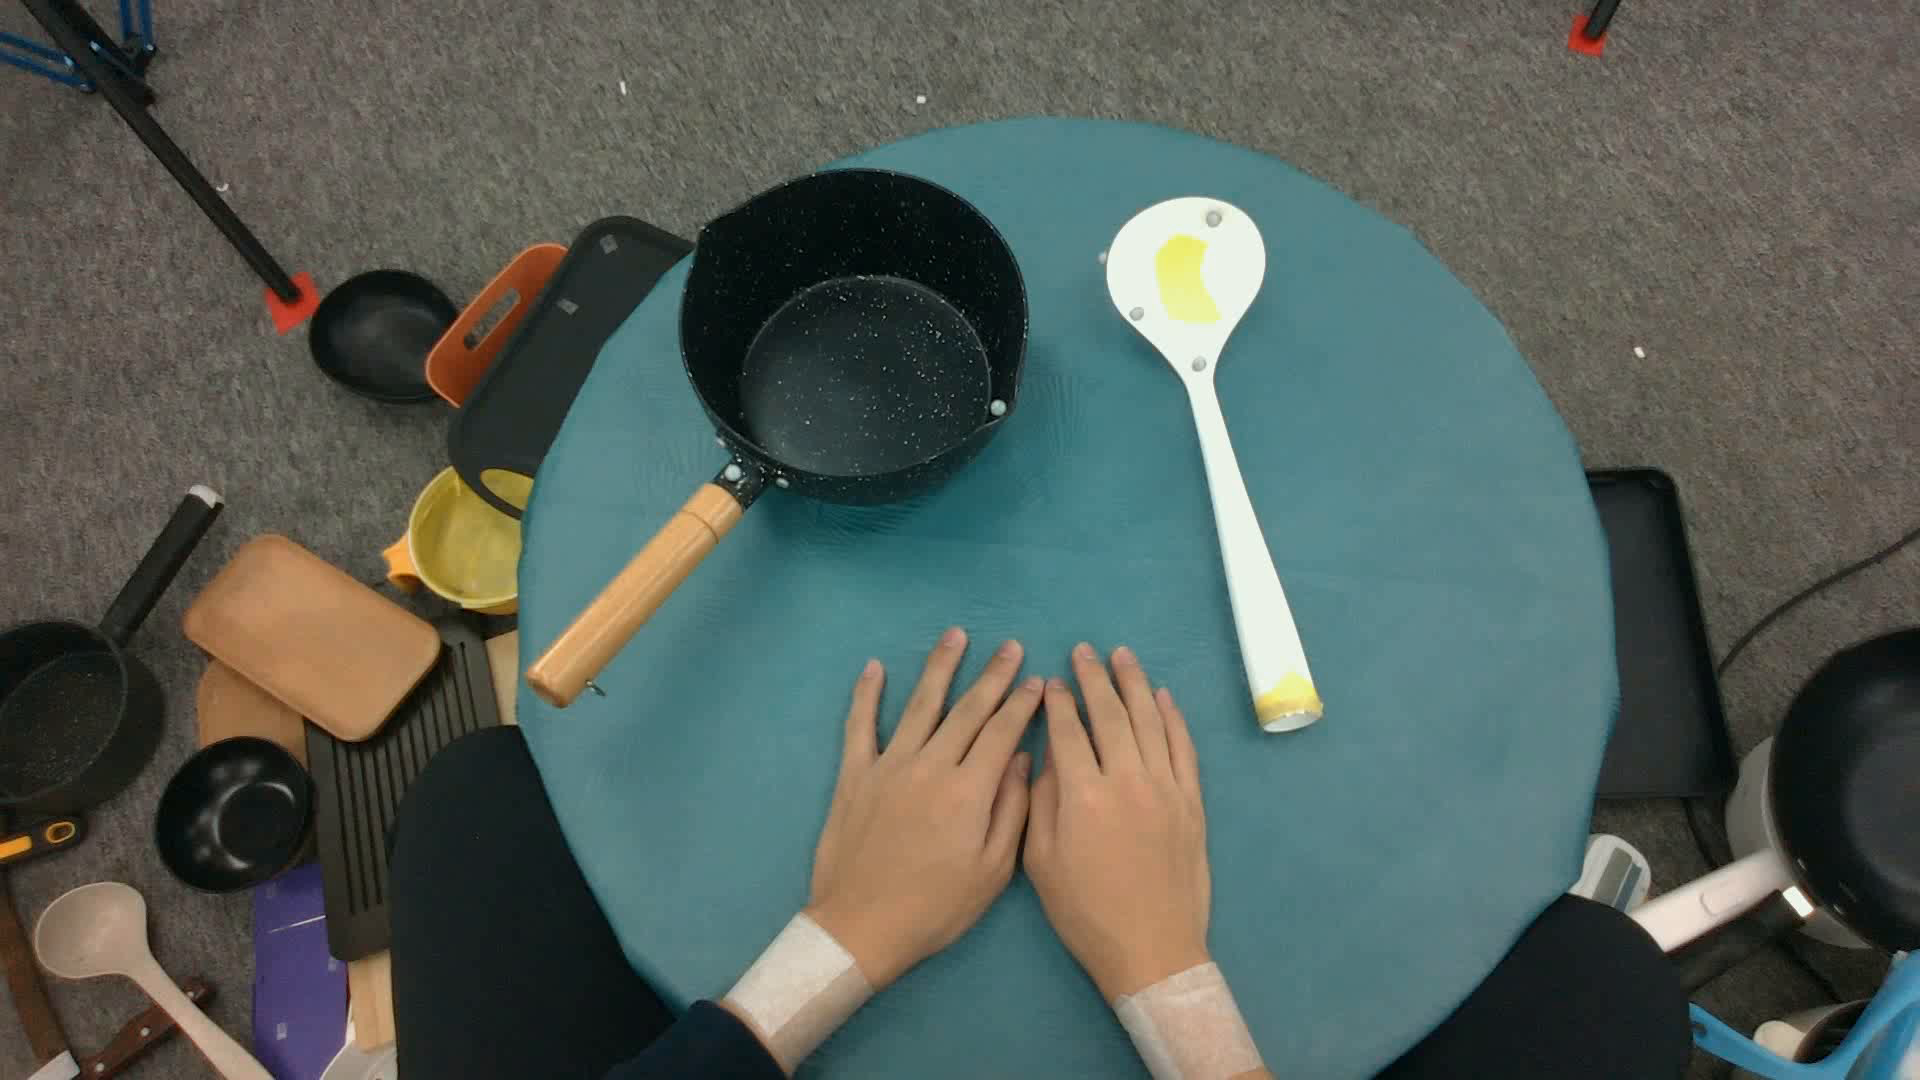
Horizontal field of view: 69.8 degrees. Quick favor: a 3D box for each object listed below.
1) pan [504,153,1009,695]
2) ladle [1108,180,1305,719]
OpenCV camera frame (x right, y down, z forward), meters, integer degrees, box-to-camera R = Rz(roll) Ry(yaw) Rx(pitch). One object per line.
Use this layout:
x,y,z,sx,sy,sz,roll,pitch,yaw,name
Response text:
-0.108,-0.050,0.723,0.207,0.108,0.344,30,71,10,pan
0.144,-0.053,0.748,0.090,0.069,0.294,-6,70,-9,ladle
